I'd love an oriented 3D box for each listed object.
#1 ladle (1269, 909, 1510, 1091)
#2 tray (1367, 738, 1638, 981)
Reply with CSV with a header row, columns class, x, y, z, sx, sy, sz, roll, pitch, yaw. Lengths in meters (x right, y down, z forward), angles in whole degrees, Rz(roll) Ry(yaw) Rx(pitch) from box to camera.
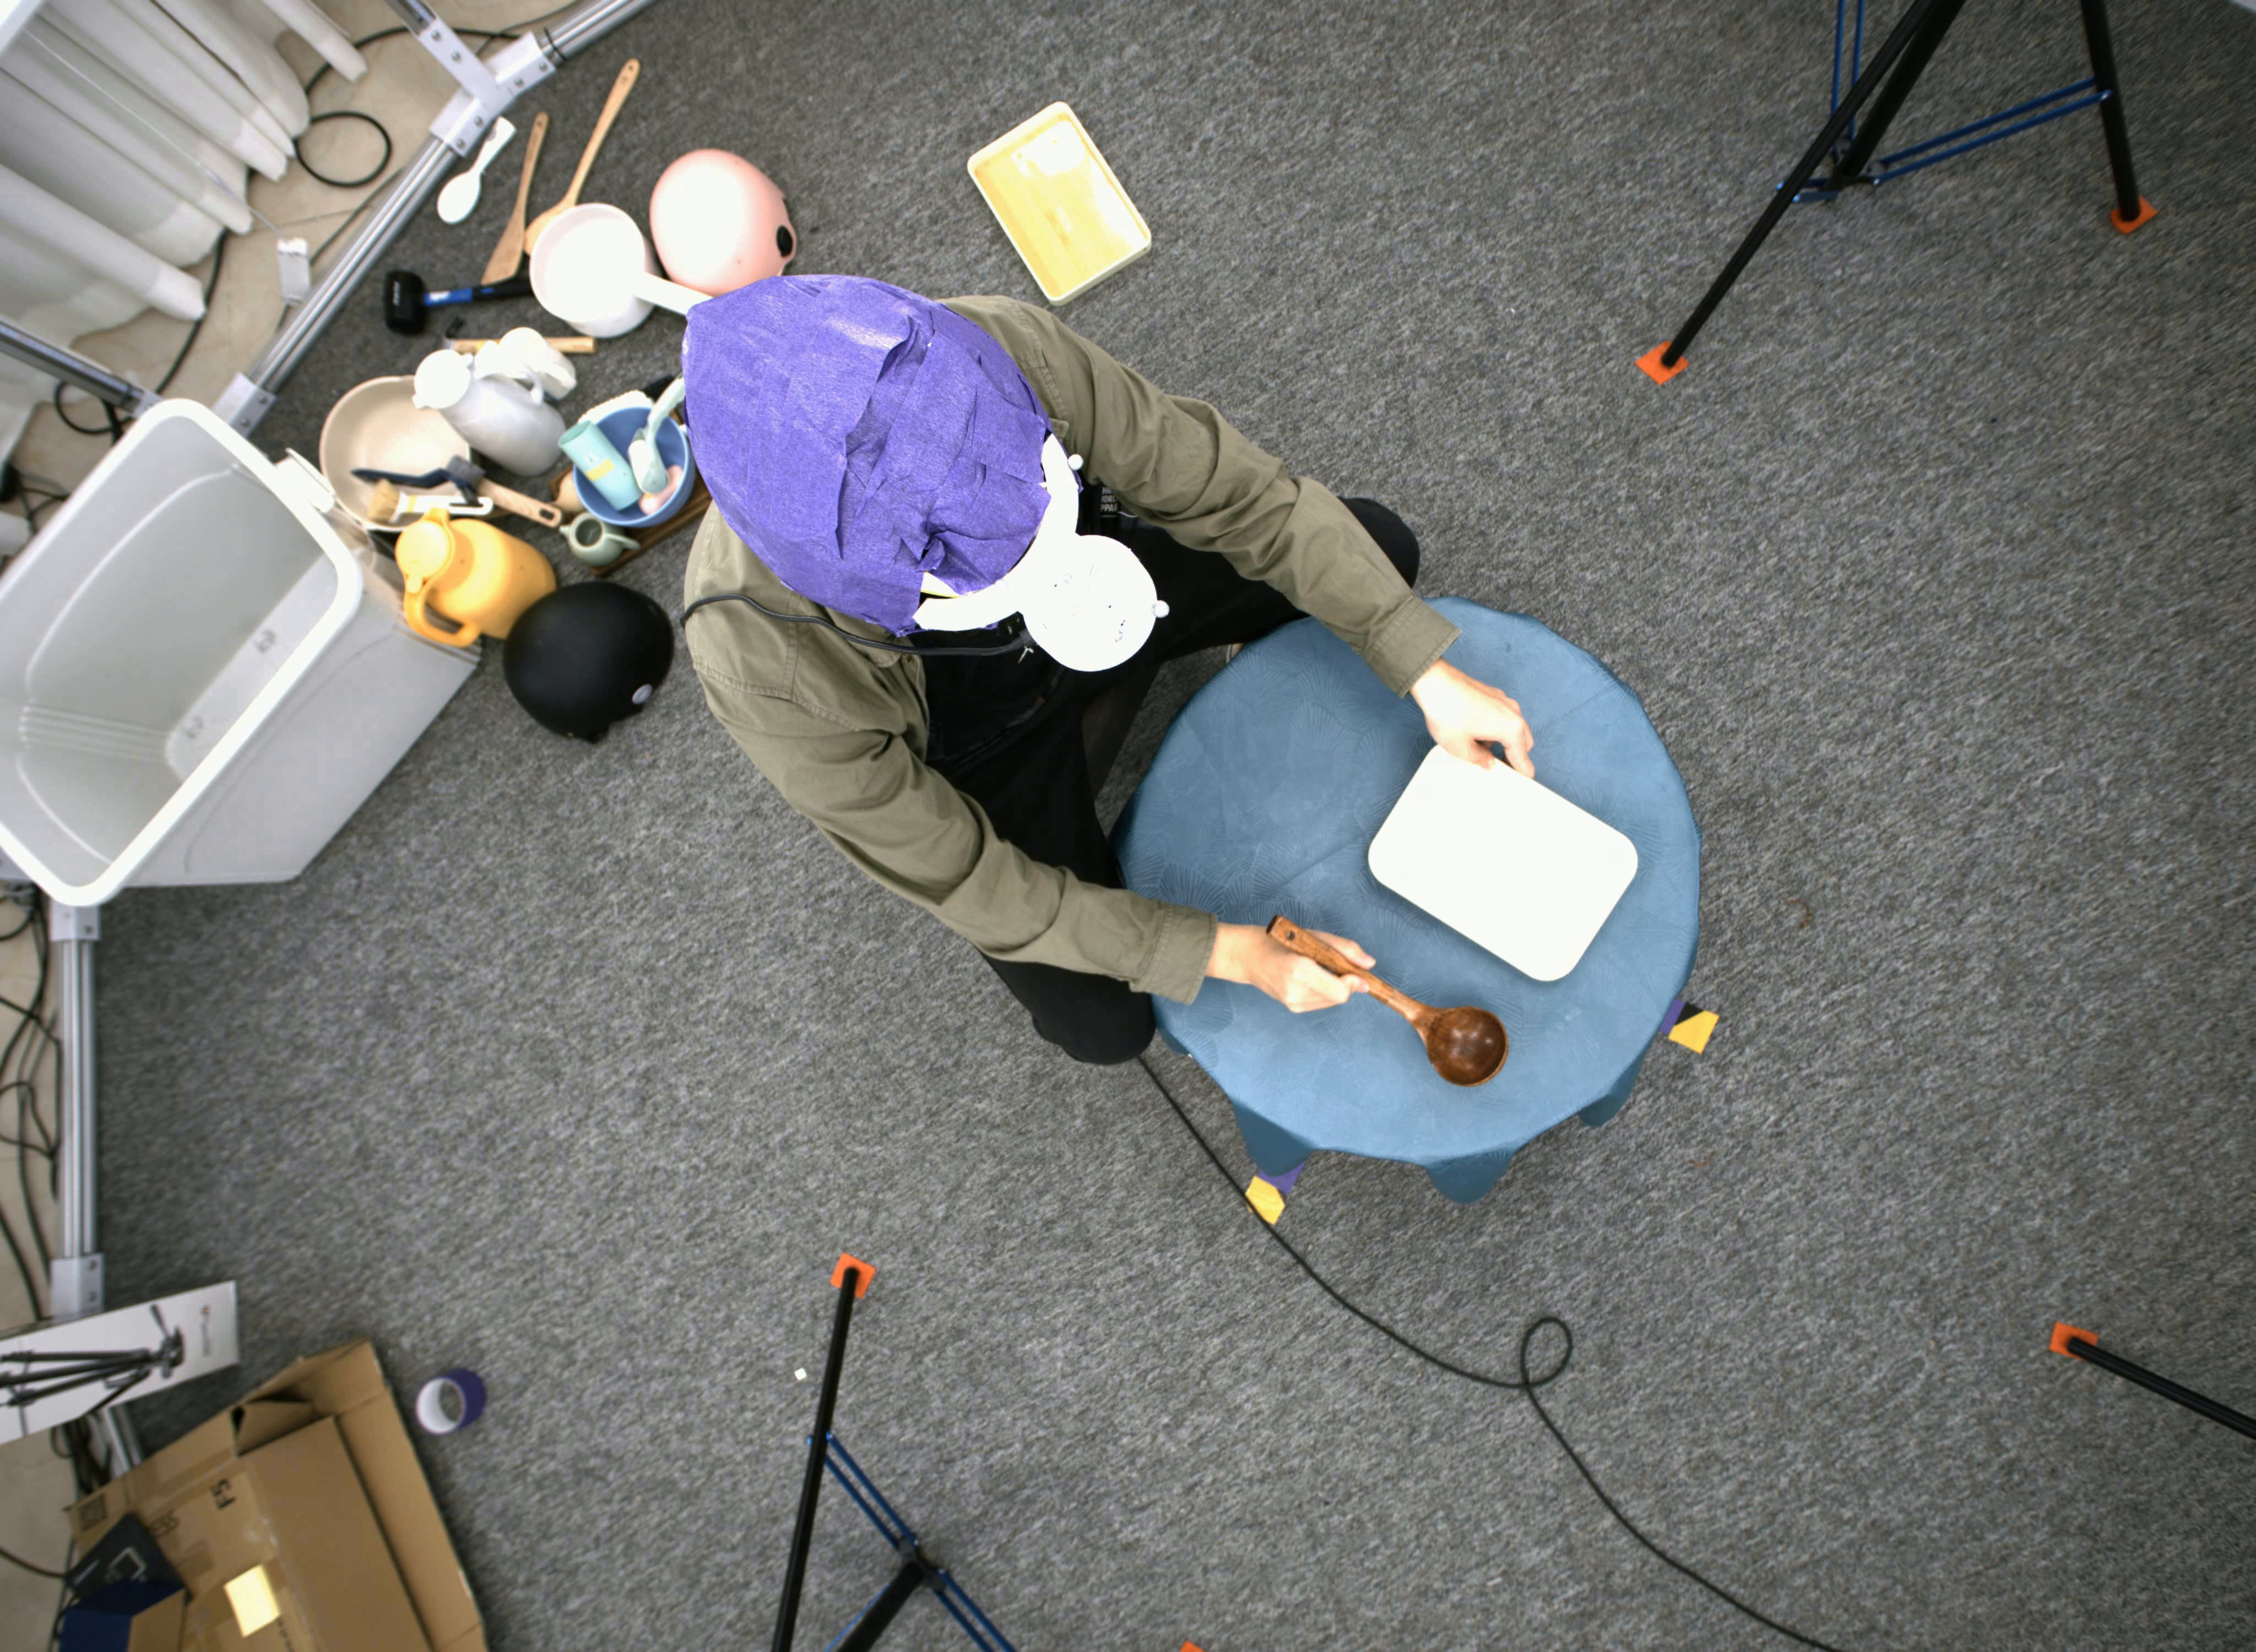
class,x,y,z,sx,sy,sz,roll,pitch,yaw
ladle,0.255,0.165,1.340,0.275,0.076,0.081,34,84,-19
tray,0.377,0.031,1.393,0.239,0.017,0.172,32,100,6
